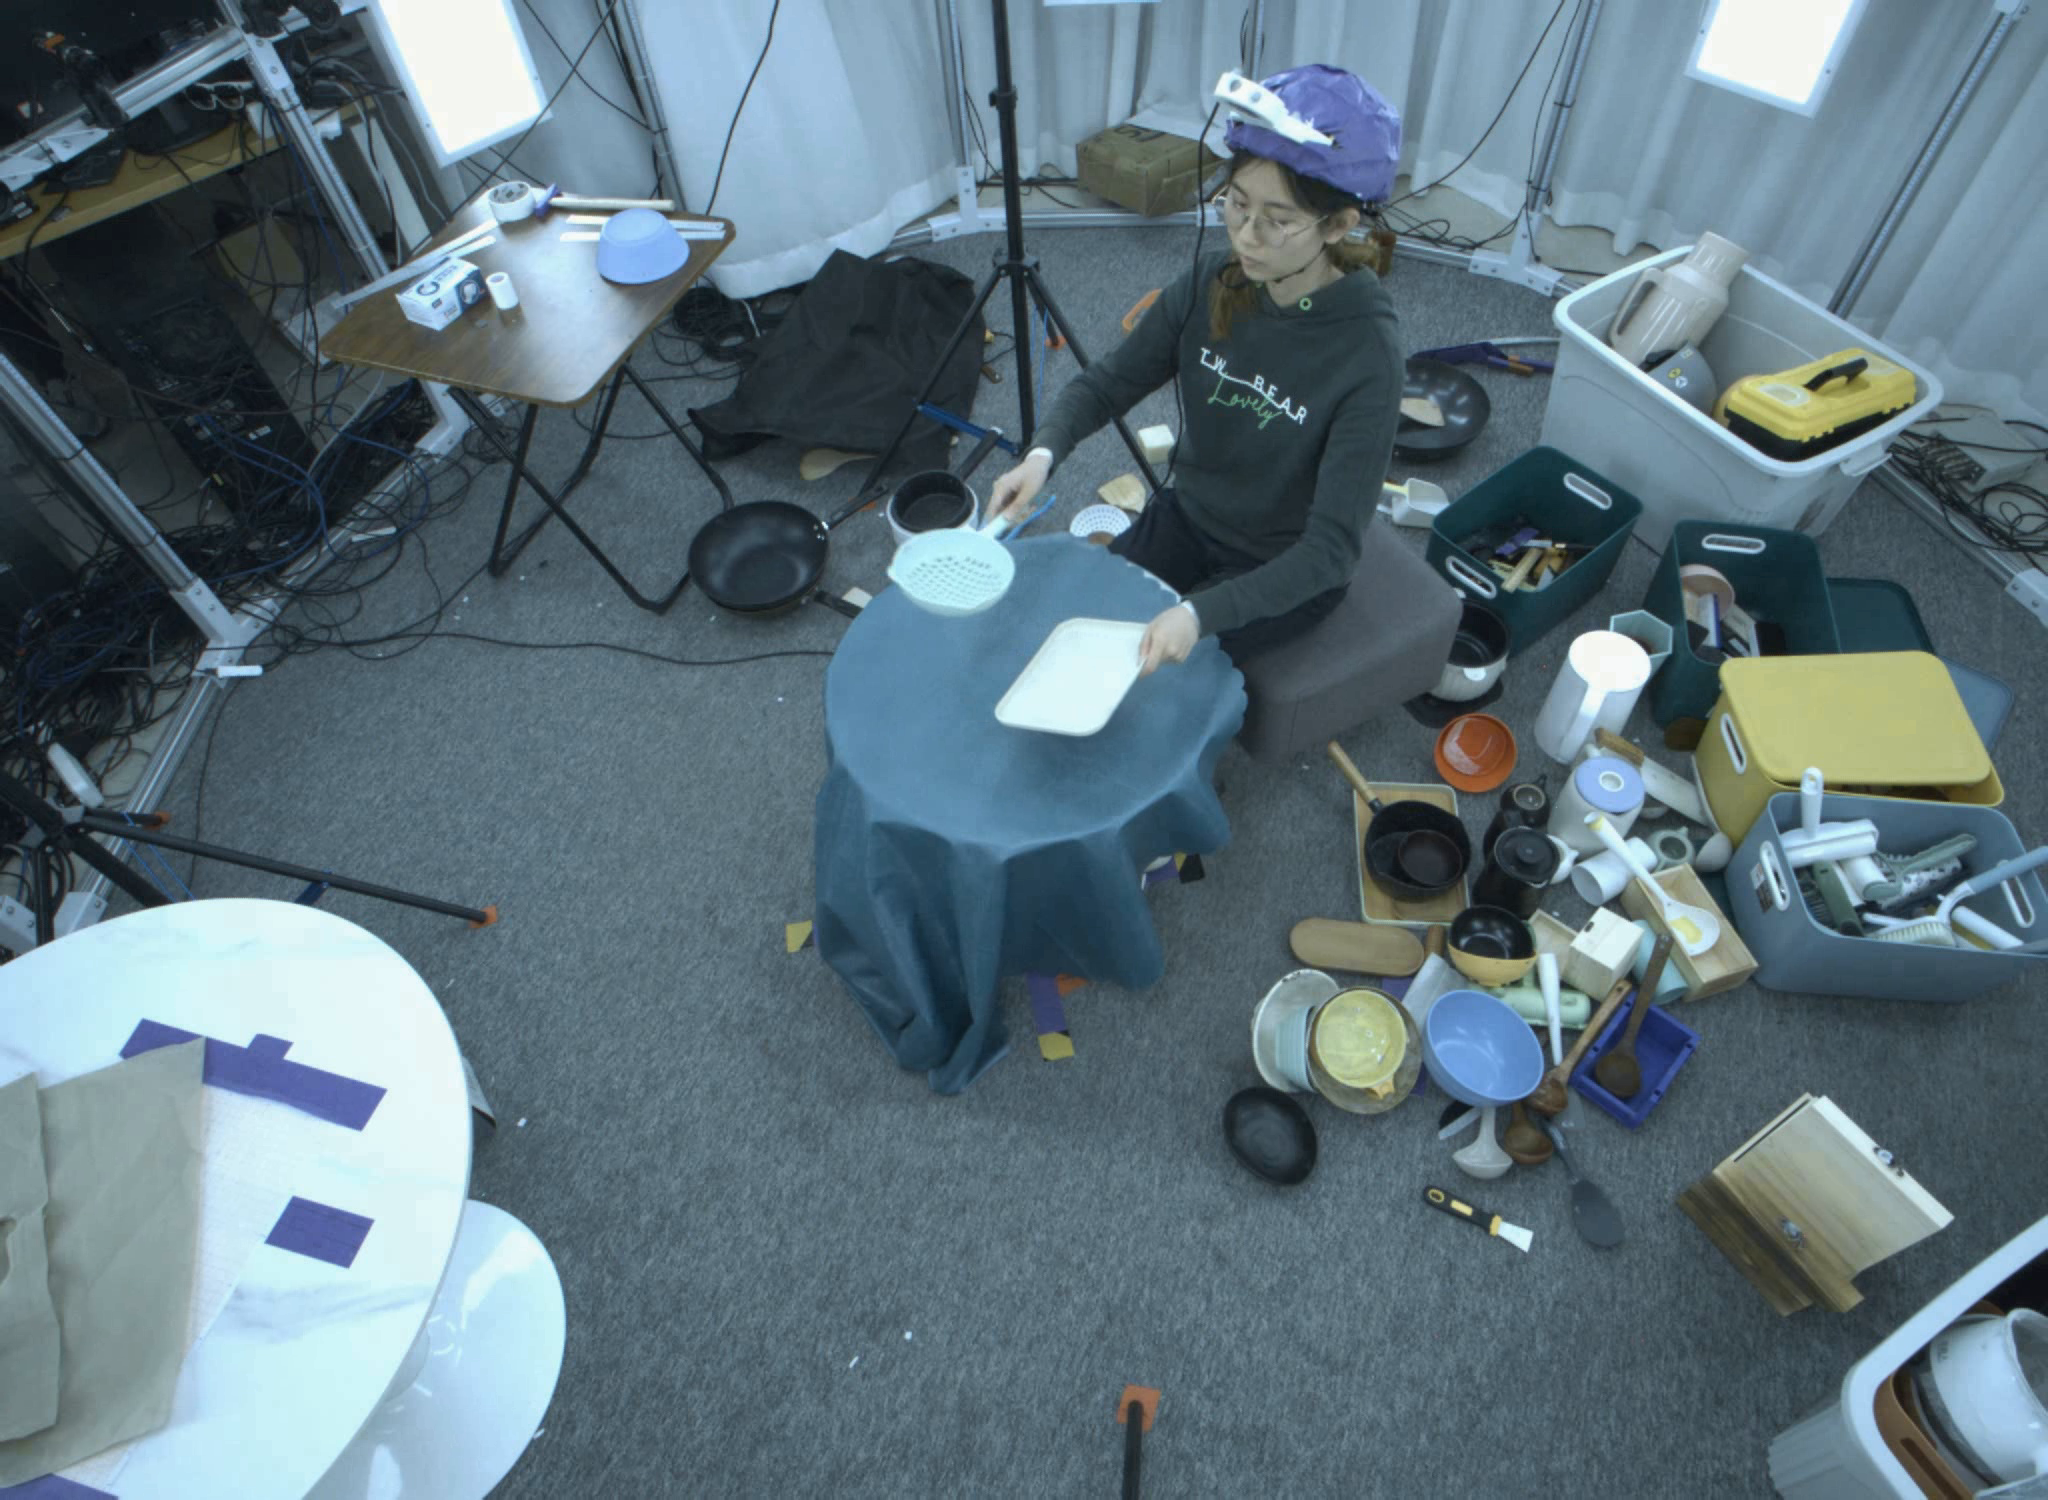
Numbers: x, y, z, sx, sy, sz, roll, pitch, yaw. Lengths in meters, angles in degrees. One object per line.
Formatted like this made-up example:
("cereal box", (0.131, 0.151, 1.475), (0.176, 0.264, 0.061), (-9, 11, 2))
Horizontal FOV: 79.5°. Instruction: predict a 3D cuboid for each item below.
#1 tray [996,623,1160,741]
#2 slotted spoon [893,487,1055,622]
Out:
("tray", (0.078, -0.097, 1.719), (0.168, 0.018, 0.240), (10, 46, 29))
("slotted spoon", (-0.046, -0.301, 1.778), (0.167, 0.076, 0.360), (24, 57, 16))
